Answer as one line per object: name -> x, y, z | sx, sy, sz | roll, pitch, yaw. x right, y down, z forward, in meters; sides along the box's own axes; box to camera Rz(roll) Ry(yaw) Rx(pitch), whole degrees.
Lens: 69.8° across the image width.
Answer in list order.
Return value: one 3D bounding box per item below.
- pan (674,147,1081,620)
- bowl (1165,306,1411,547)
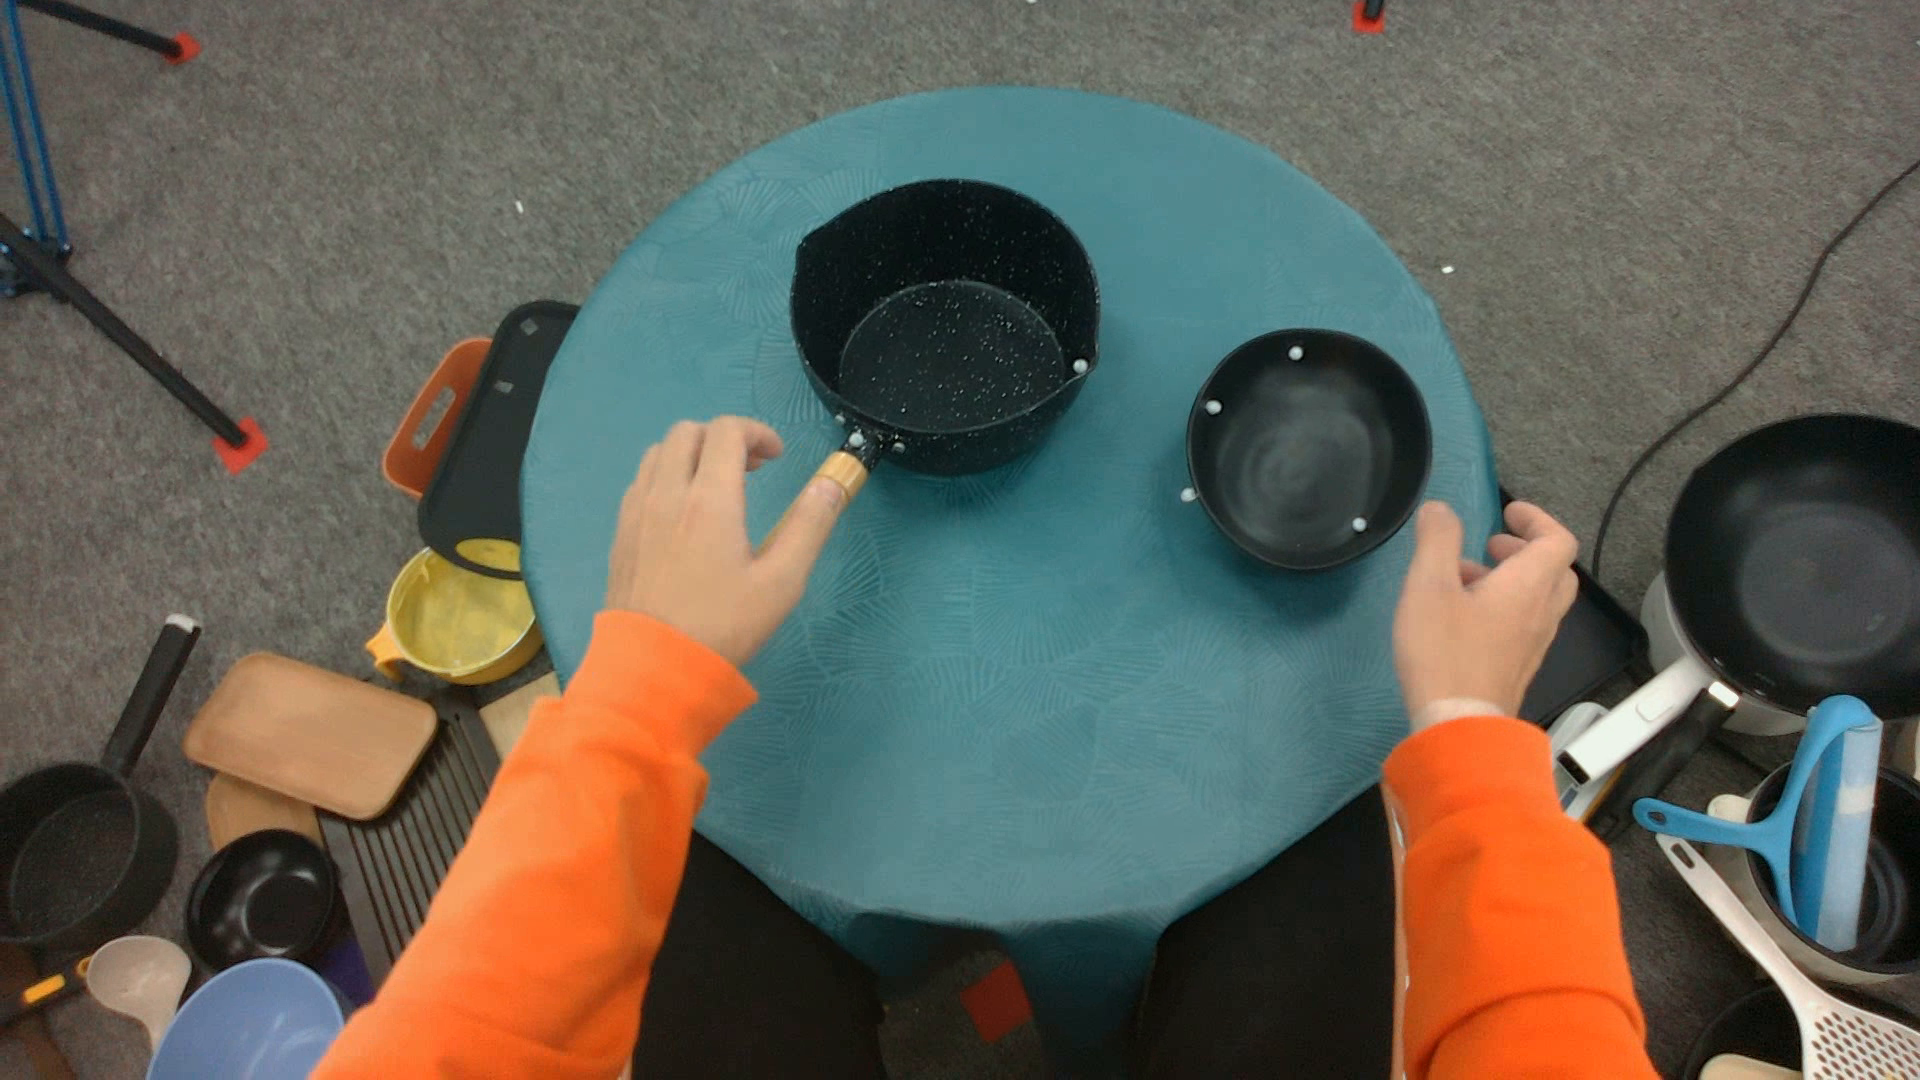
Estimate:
pan -> -0.056, -0.080, 0.805 | 0.207, 0.108, 0.344 | 24, 66, 11
bowl -> 0.189, -0.062, 0.814 | 0.137, 0.066, 0.171 | 17, 64, 9
